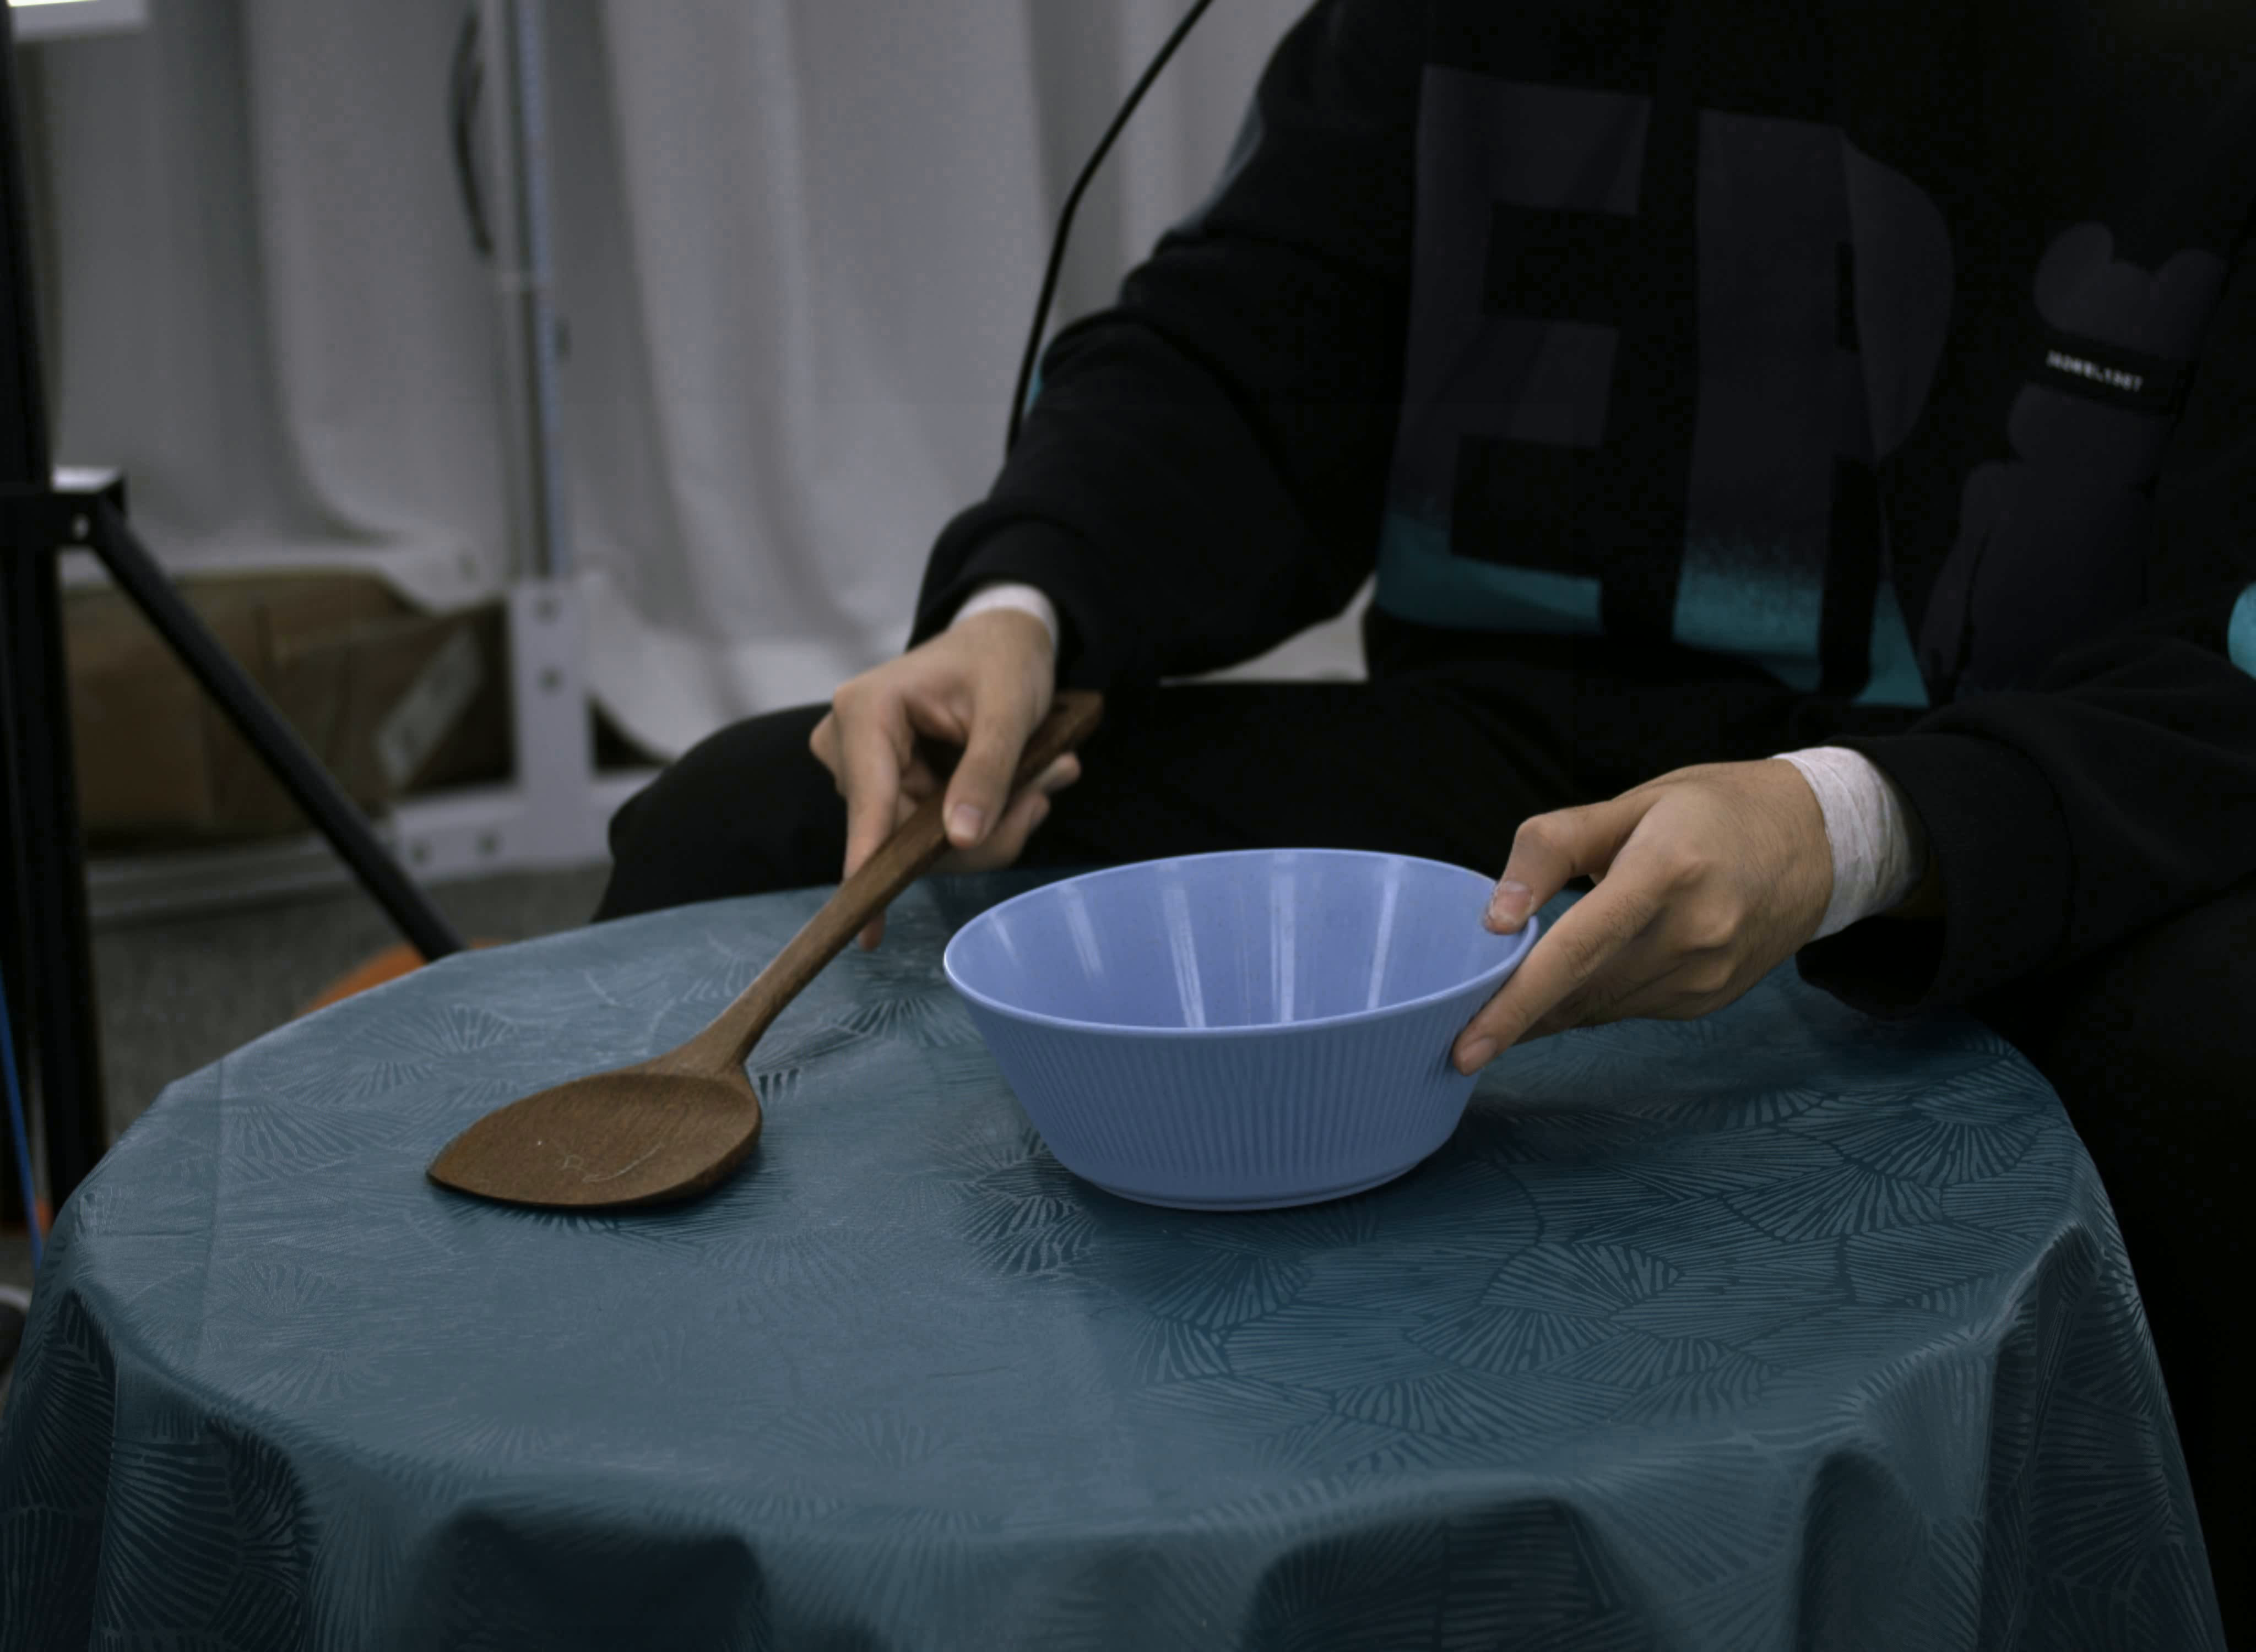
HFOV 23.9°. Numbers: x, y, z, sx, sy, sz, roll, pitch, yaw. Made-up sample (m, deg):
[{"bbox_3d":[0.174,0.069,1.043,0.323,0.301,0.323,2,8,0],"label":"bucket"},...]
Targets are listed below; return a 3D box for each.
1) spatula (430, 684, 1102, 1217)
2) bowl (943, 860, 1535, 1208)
[{"bbox_3d":[-0.095,0.032,1.722,0.097,0.016,0.382,4,28,26],"label":"spatula"},{"bbox_3d":[0.034,0.064,1.575,0.175,0.070,0.177,-3,15,-1],"label":"bowl"}]
